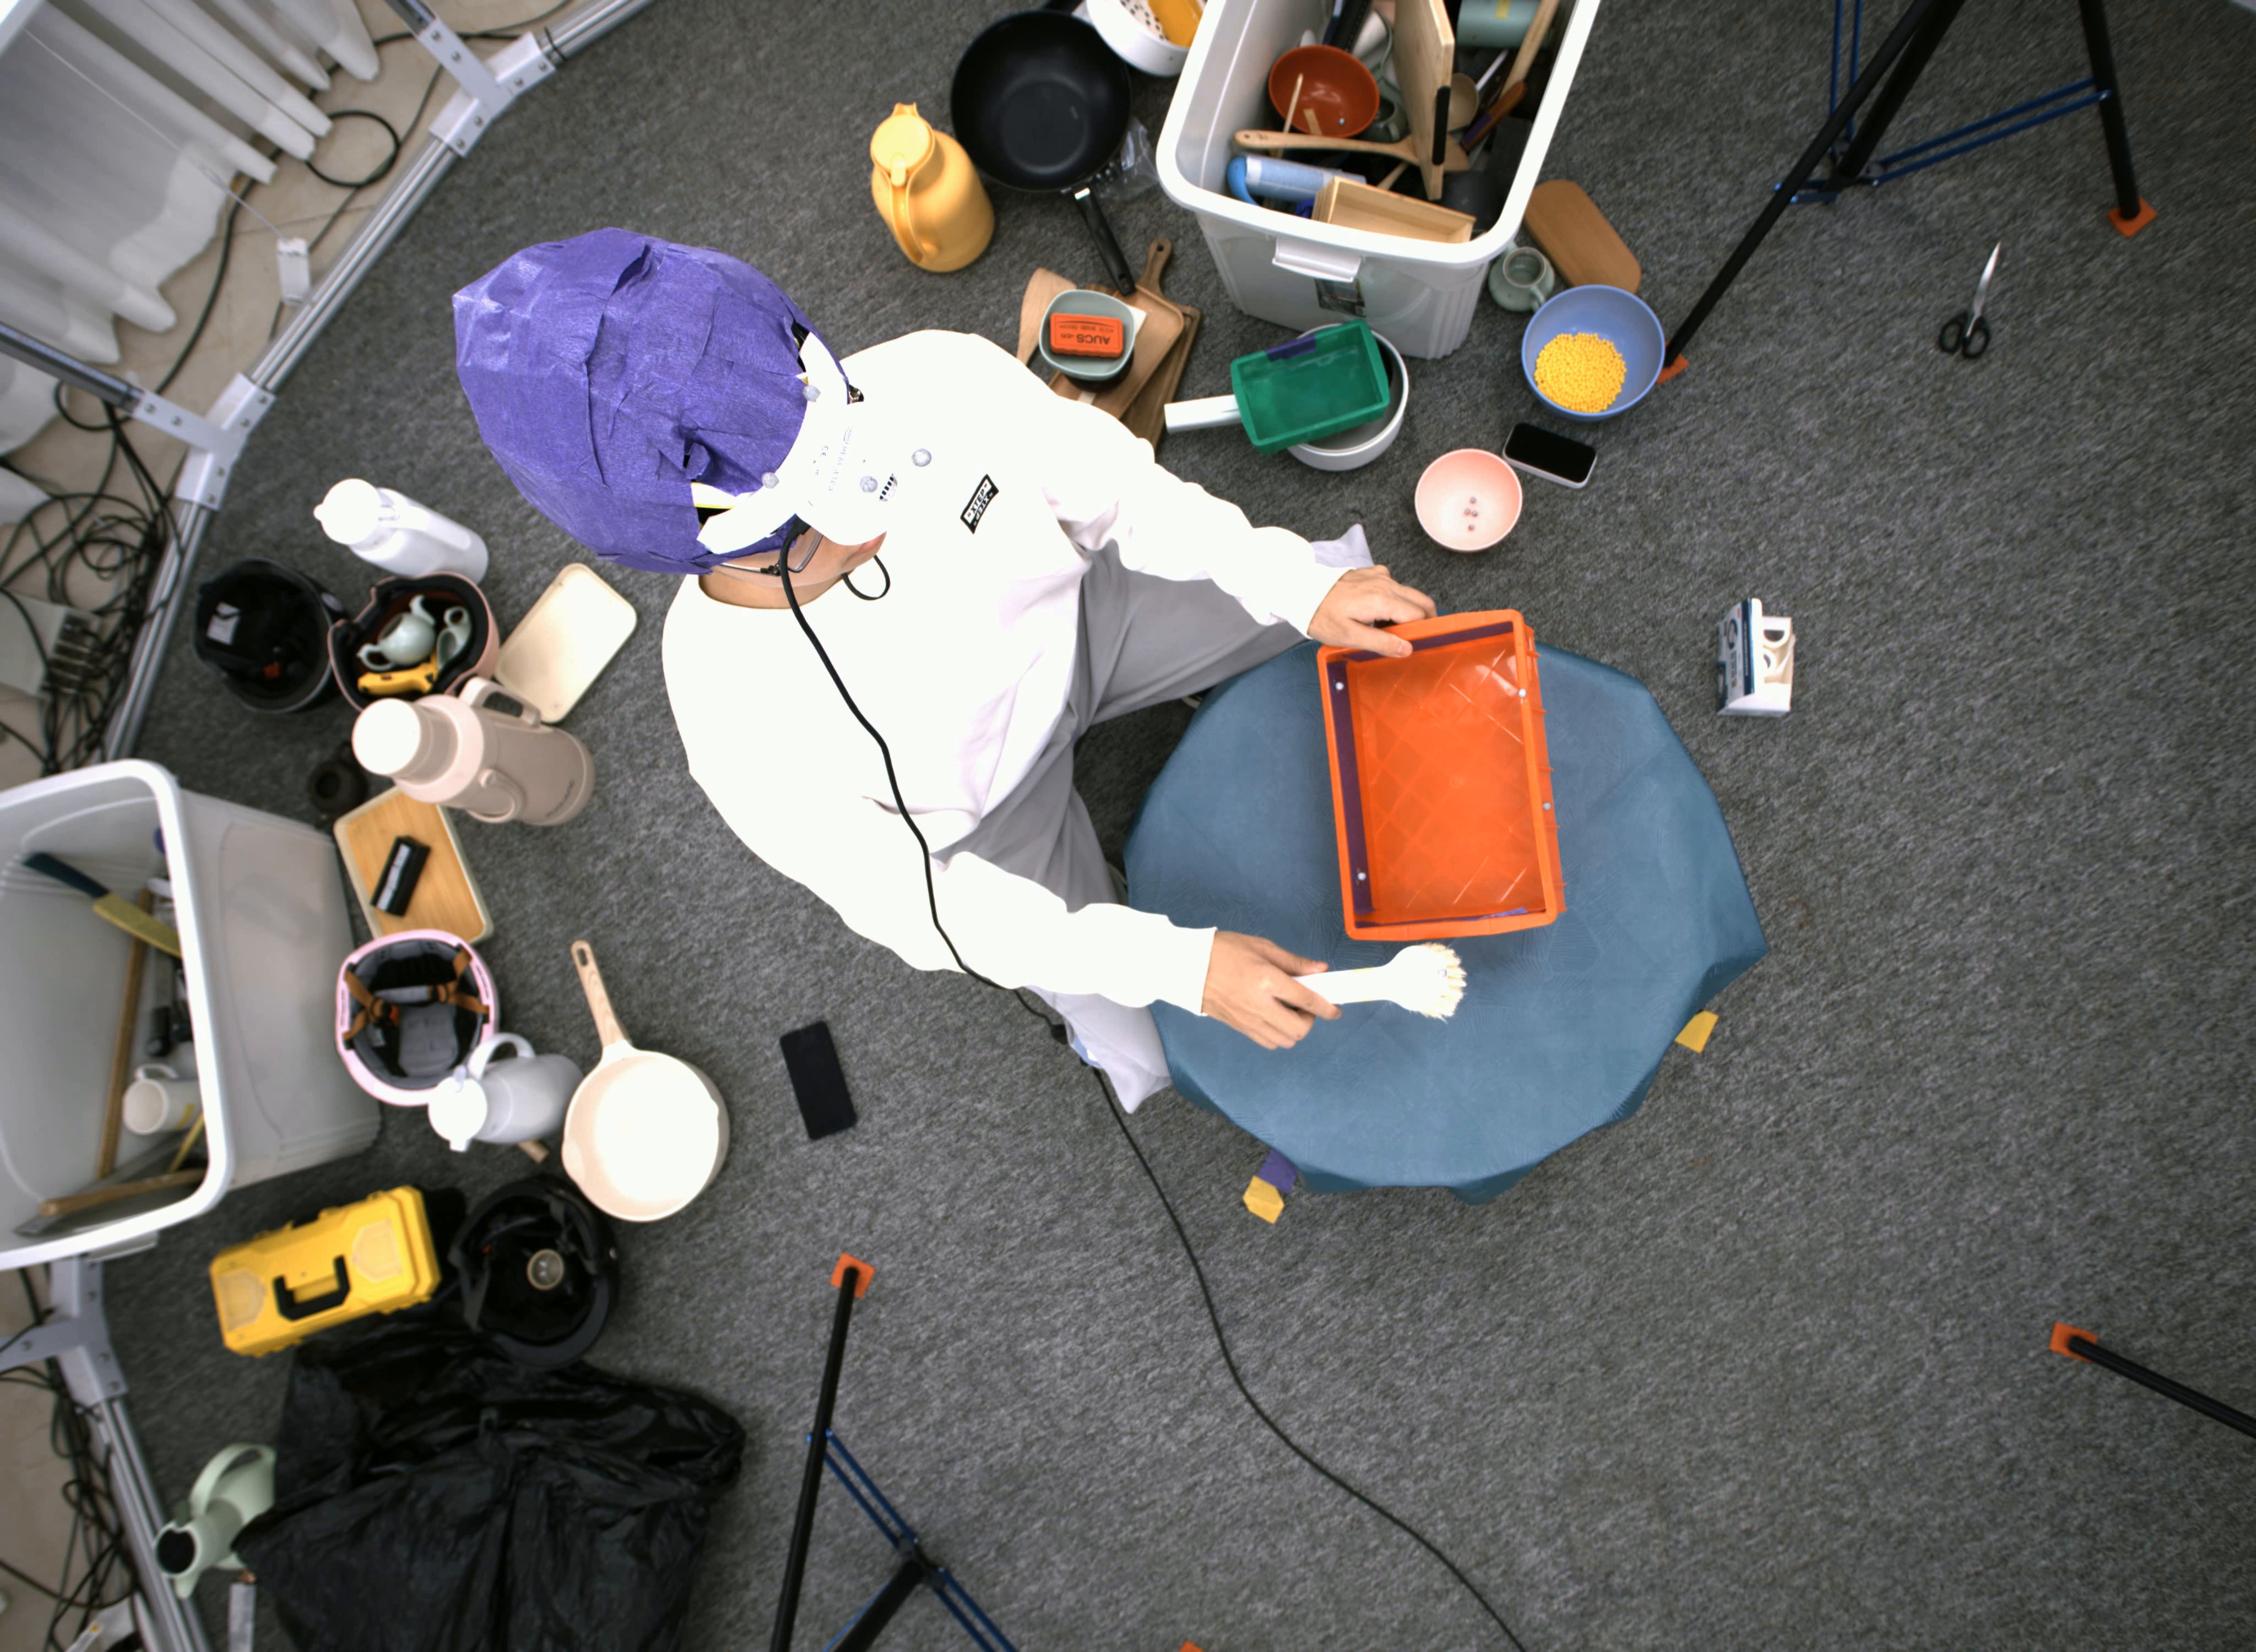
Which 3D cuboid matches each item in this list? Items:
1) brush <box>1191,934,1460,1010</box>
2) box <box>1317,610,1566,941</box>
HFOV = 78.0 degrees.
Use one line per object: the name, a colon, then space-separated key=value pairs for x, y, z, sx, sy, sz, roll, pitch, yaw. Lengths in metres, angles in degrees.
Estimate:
brush: x=0.189 y=0.151 z=1.335 sx=0.270 sy=0.056 sz=0.067 roll=-13 pitch=61 yaw=31
box: x=0.309 y=-0.045 z=1.341 sx=0.208 sy=0.096 sz=0.302 roll=-6 pitch=87 yaw=31
